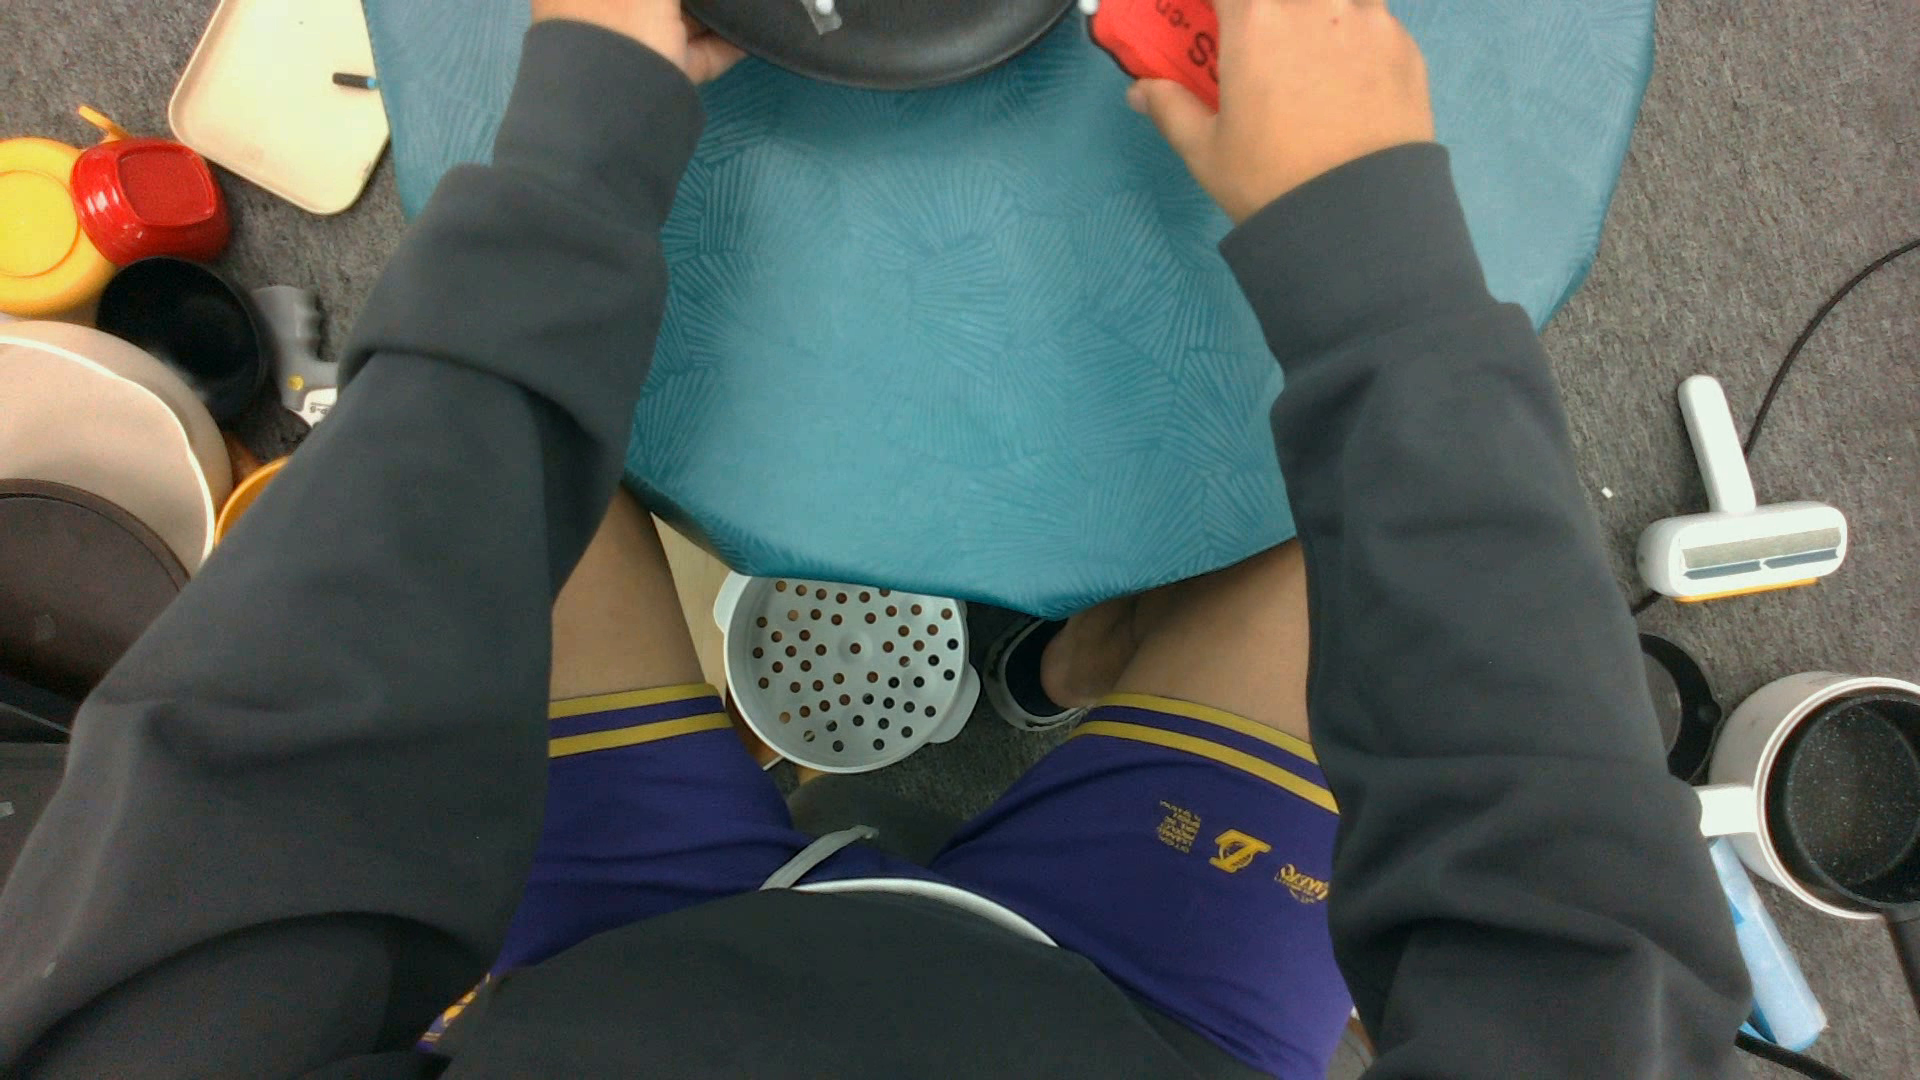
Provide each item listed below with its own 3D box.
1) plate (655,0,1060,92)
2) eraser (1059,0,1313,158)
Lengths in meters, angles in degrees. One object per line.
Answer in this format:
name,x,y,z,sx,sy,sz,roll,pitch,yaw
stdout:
plate,-0.054,-0.309,0.593,0.245,0.023,0.244,2,85,-20
eraser,0.095,-0.208,0.568,0.108,0.023,0.059,28,87,-30
